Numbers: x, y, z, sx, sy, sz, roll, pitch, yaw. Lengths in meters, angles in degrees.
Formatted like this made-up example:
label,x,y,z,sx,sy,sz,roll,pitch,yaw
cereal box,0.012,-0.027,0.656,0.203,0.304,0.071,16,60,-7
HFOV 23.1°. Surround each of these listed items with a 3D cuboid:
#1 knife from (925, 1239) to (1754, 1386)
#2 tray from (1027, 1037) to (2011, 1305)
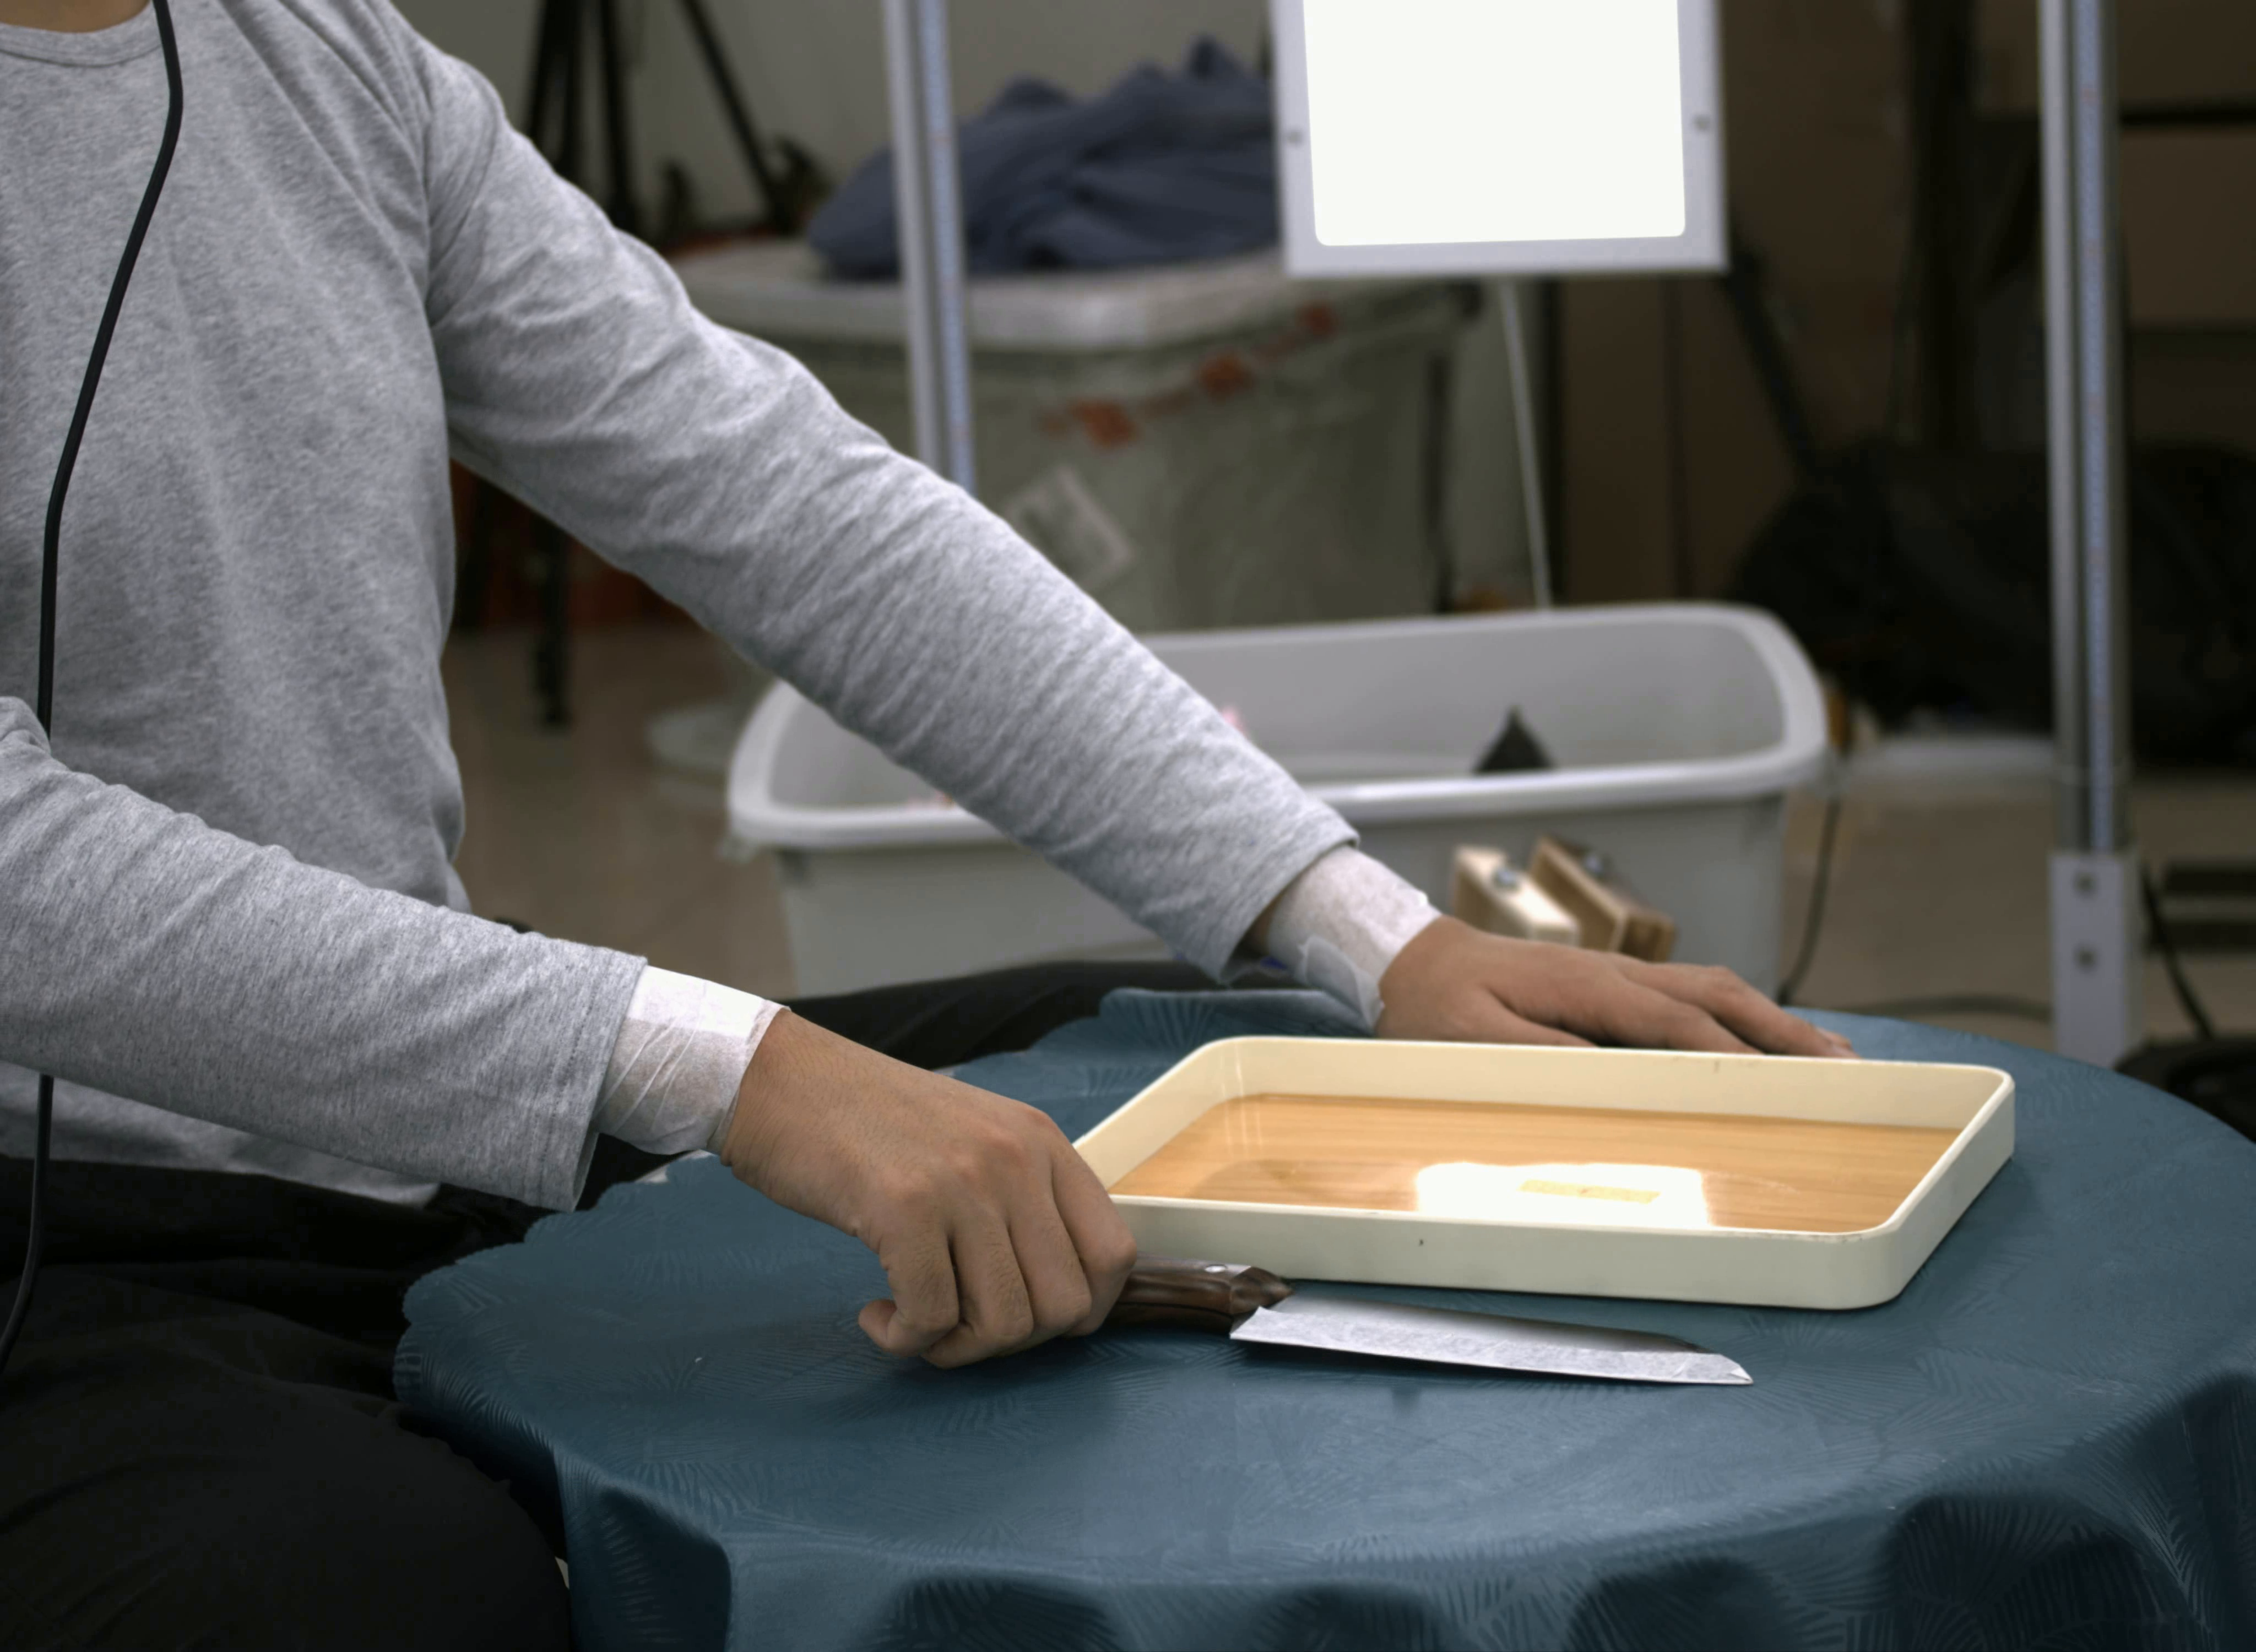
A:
label,x,y,z,sx,sy,sz,roll,pitch,yaw
knife,0.062,0.155,1.731,0.294,0.020,0.049,5,19,27
tray,0.135,0.114,1.850,0.305,0.027,0.188,1,15,25
